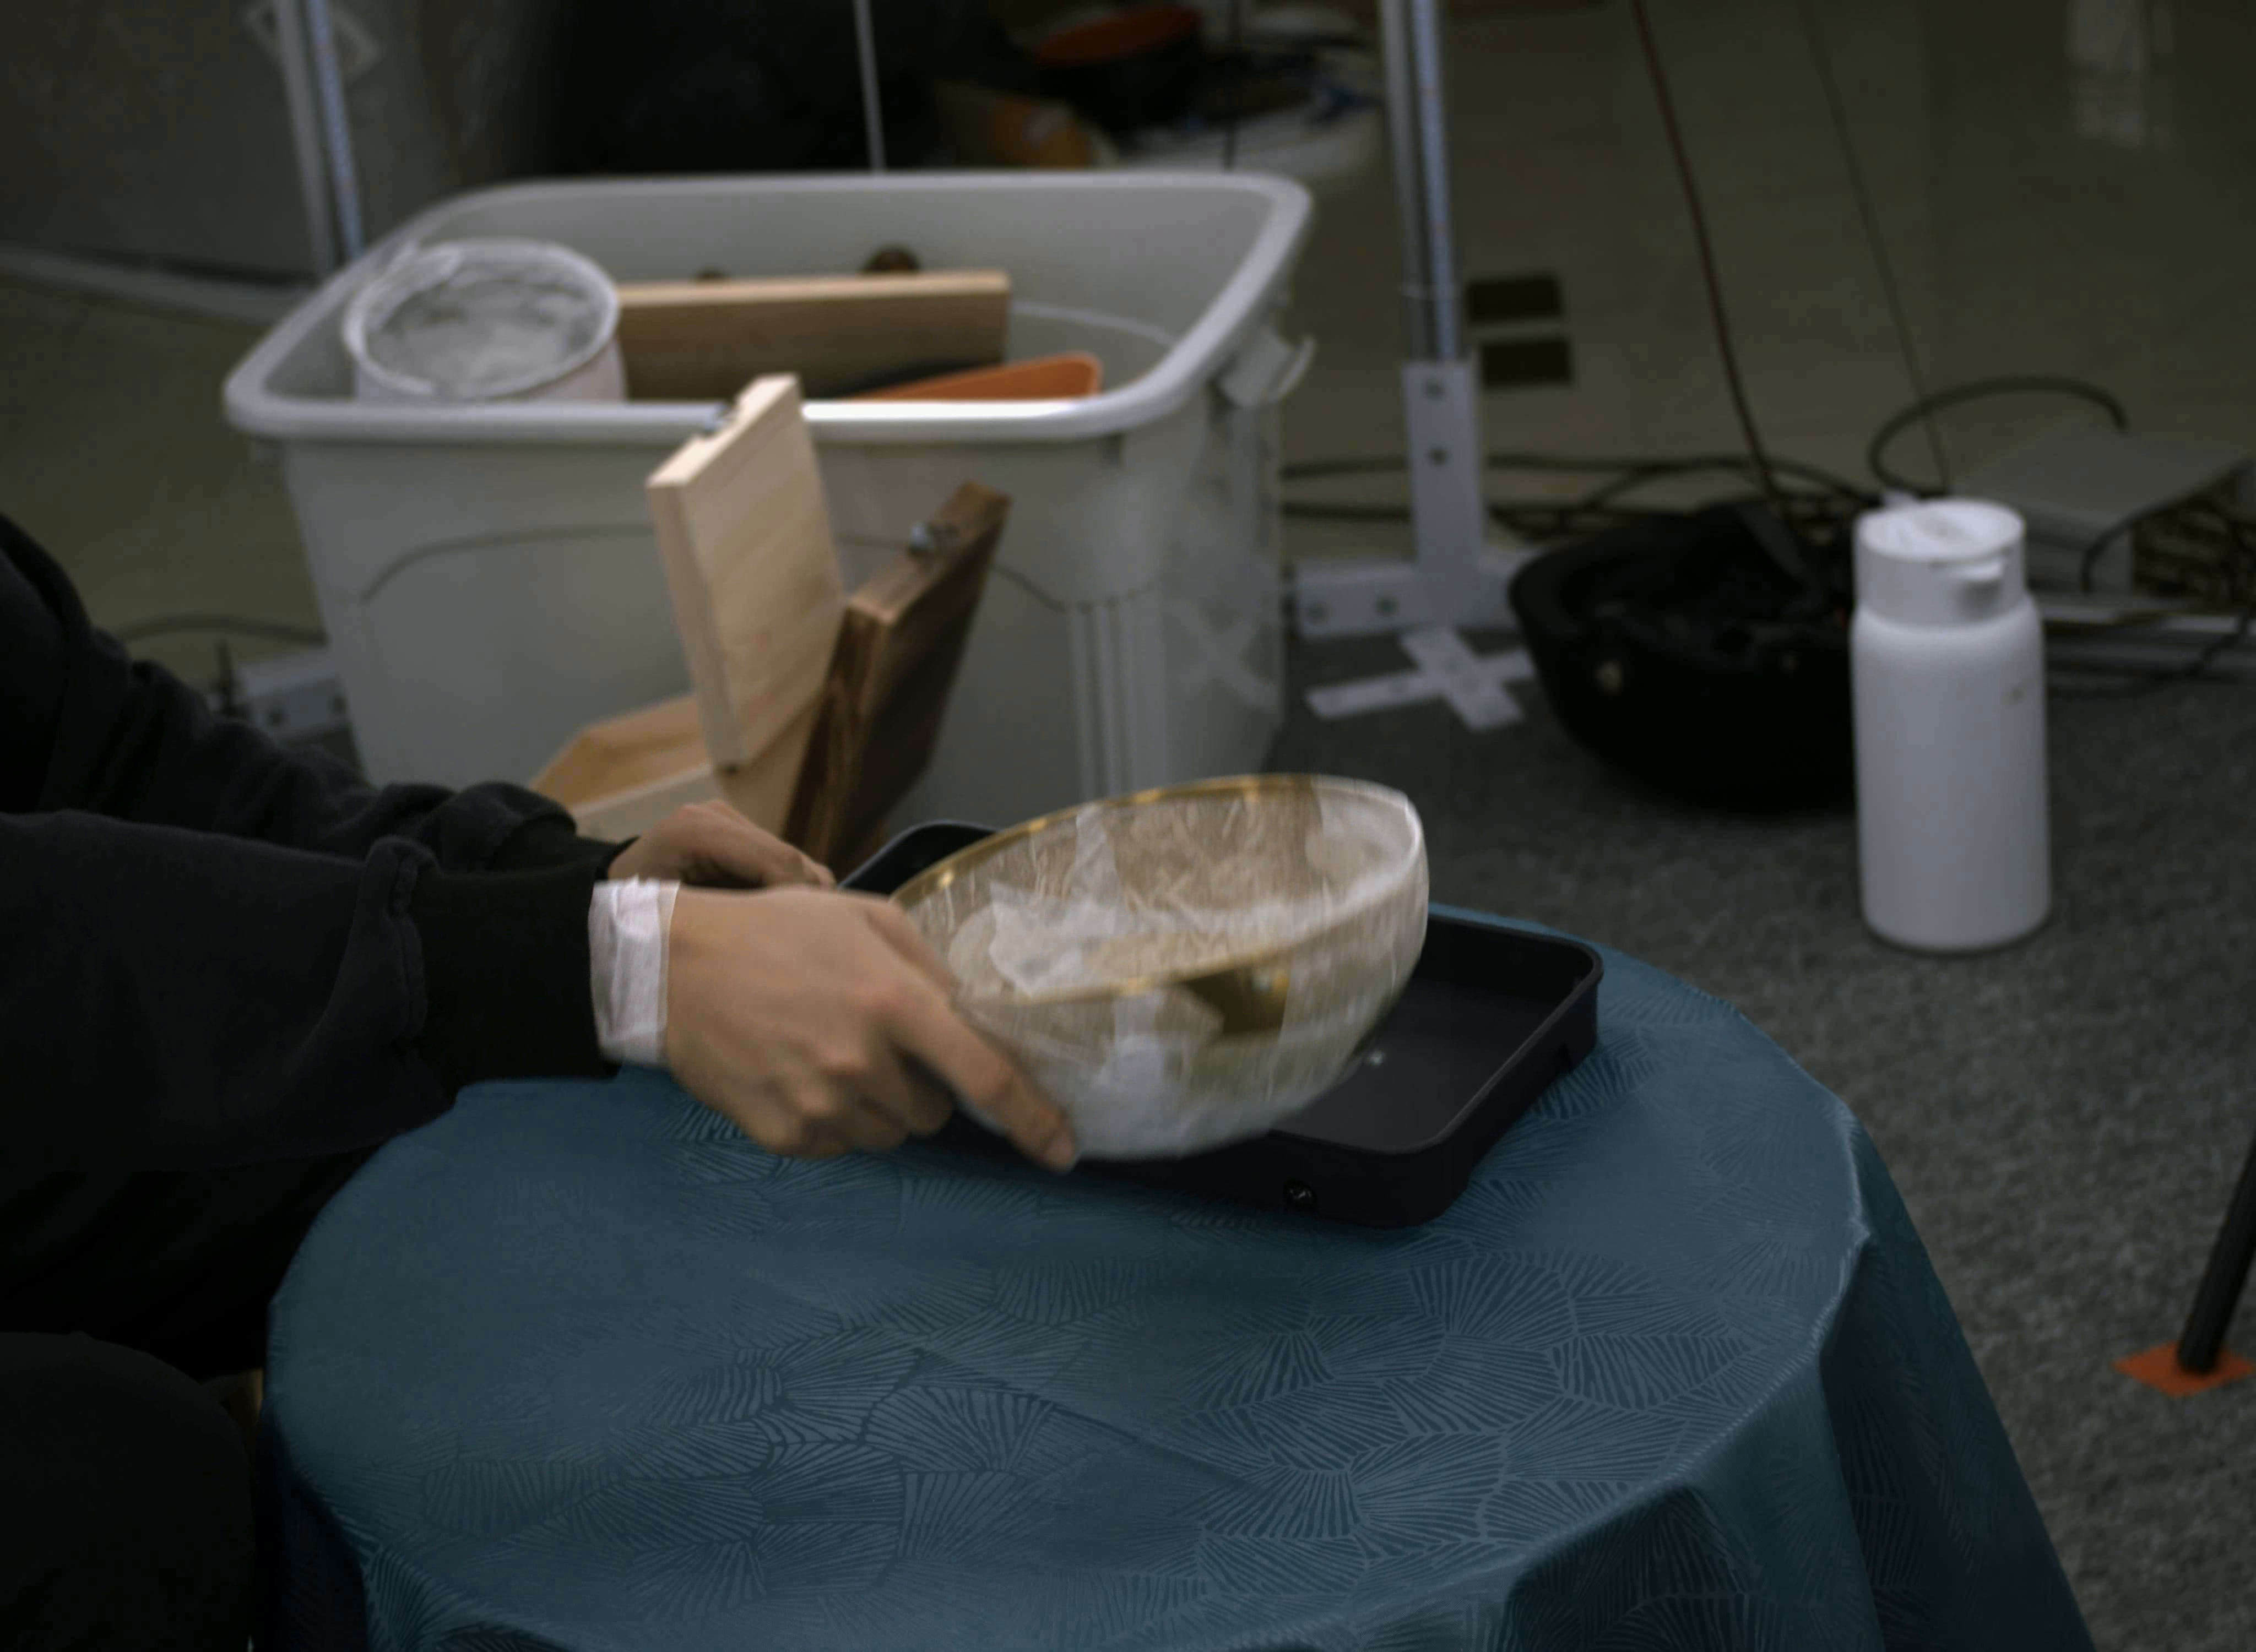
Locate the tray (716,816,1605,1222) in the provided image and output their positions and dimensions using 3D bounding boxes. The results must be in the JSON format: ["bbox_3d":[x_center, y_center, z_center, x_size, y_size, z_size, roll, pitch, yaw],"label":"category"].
[{"bbox_3d":[0.013,0.072,2.222,0.316,0.037,0.182,10,32,28],"label":"tray"}]

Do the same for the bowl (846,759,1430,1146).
[{"bbox_3d":[0.011,0.056,2.008,0.214,0.096,0.212,-12,19,4],"label":"bowl"}]
